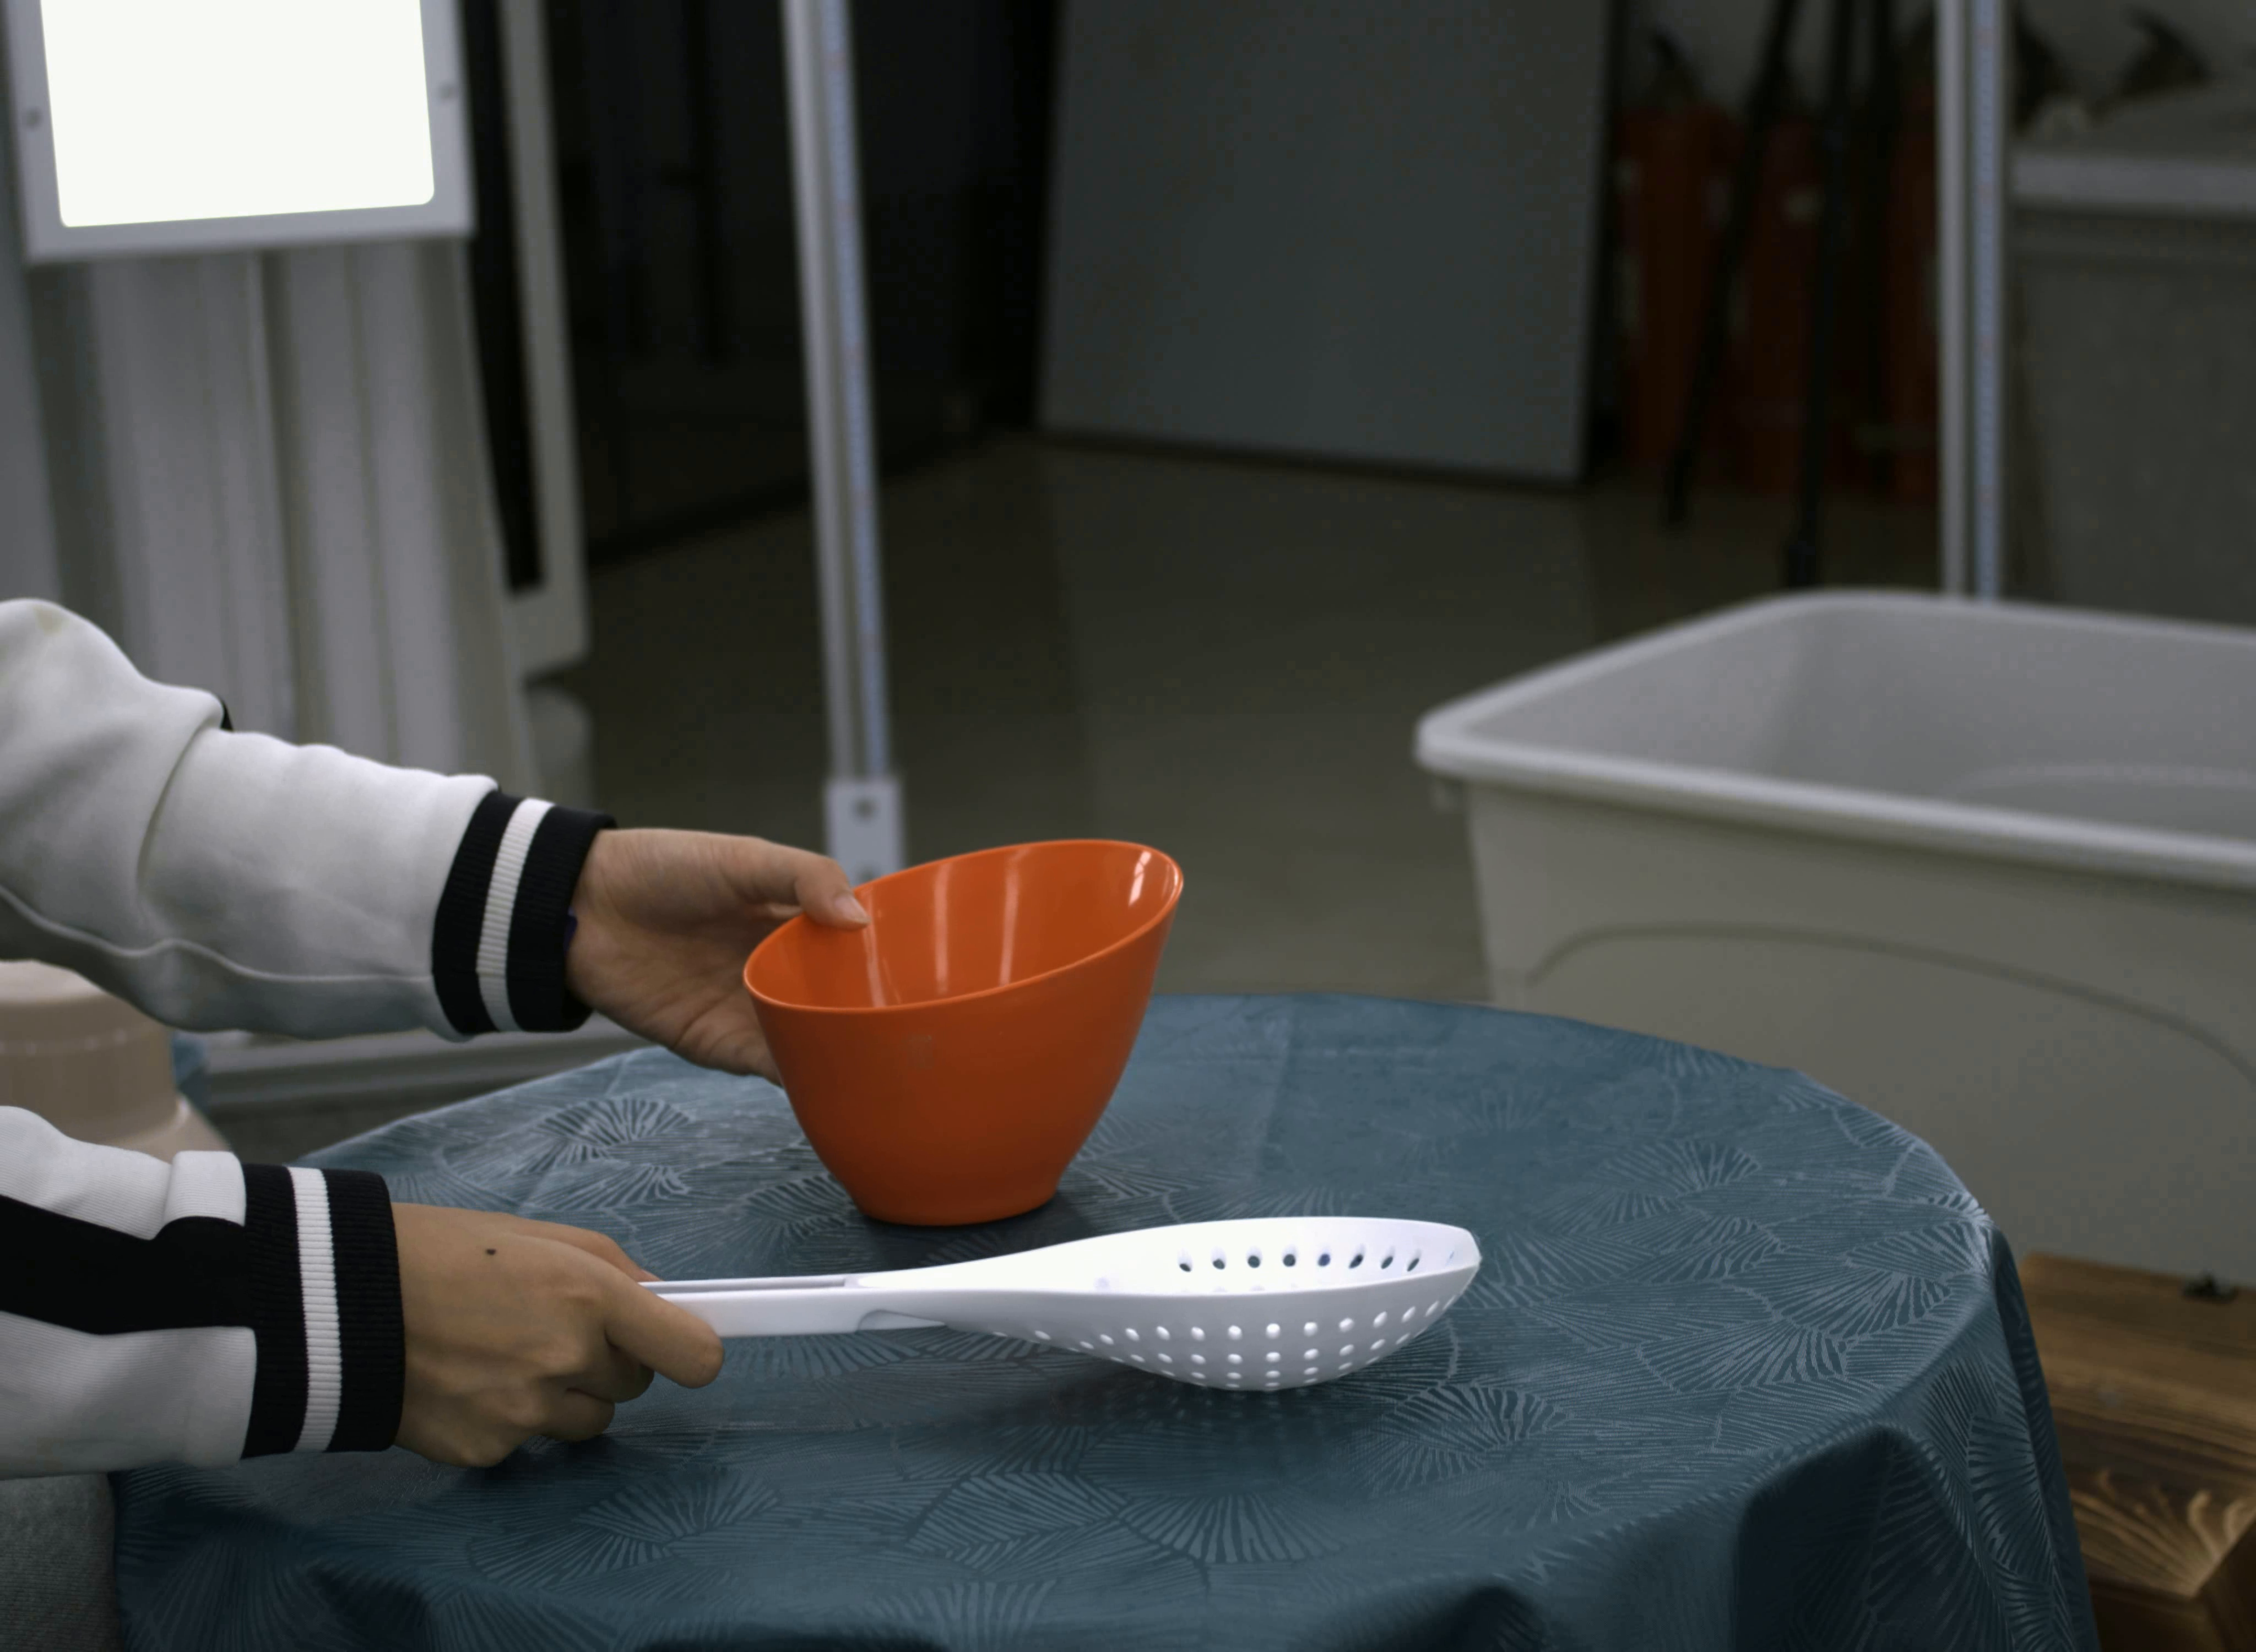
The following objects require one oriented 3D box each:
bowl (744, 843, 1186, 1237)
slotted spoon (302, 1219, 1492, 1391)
[{"bbox_3d":[-0.050,0.073,1.766,0.146,0.106,0.148,-4,13,0],"label":"bowl"},{"bbox_3d":[-0.067,0.137,1.576,0.345,0.046,0.136,2,3,1],"label":"slotted spoon"}]
